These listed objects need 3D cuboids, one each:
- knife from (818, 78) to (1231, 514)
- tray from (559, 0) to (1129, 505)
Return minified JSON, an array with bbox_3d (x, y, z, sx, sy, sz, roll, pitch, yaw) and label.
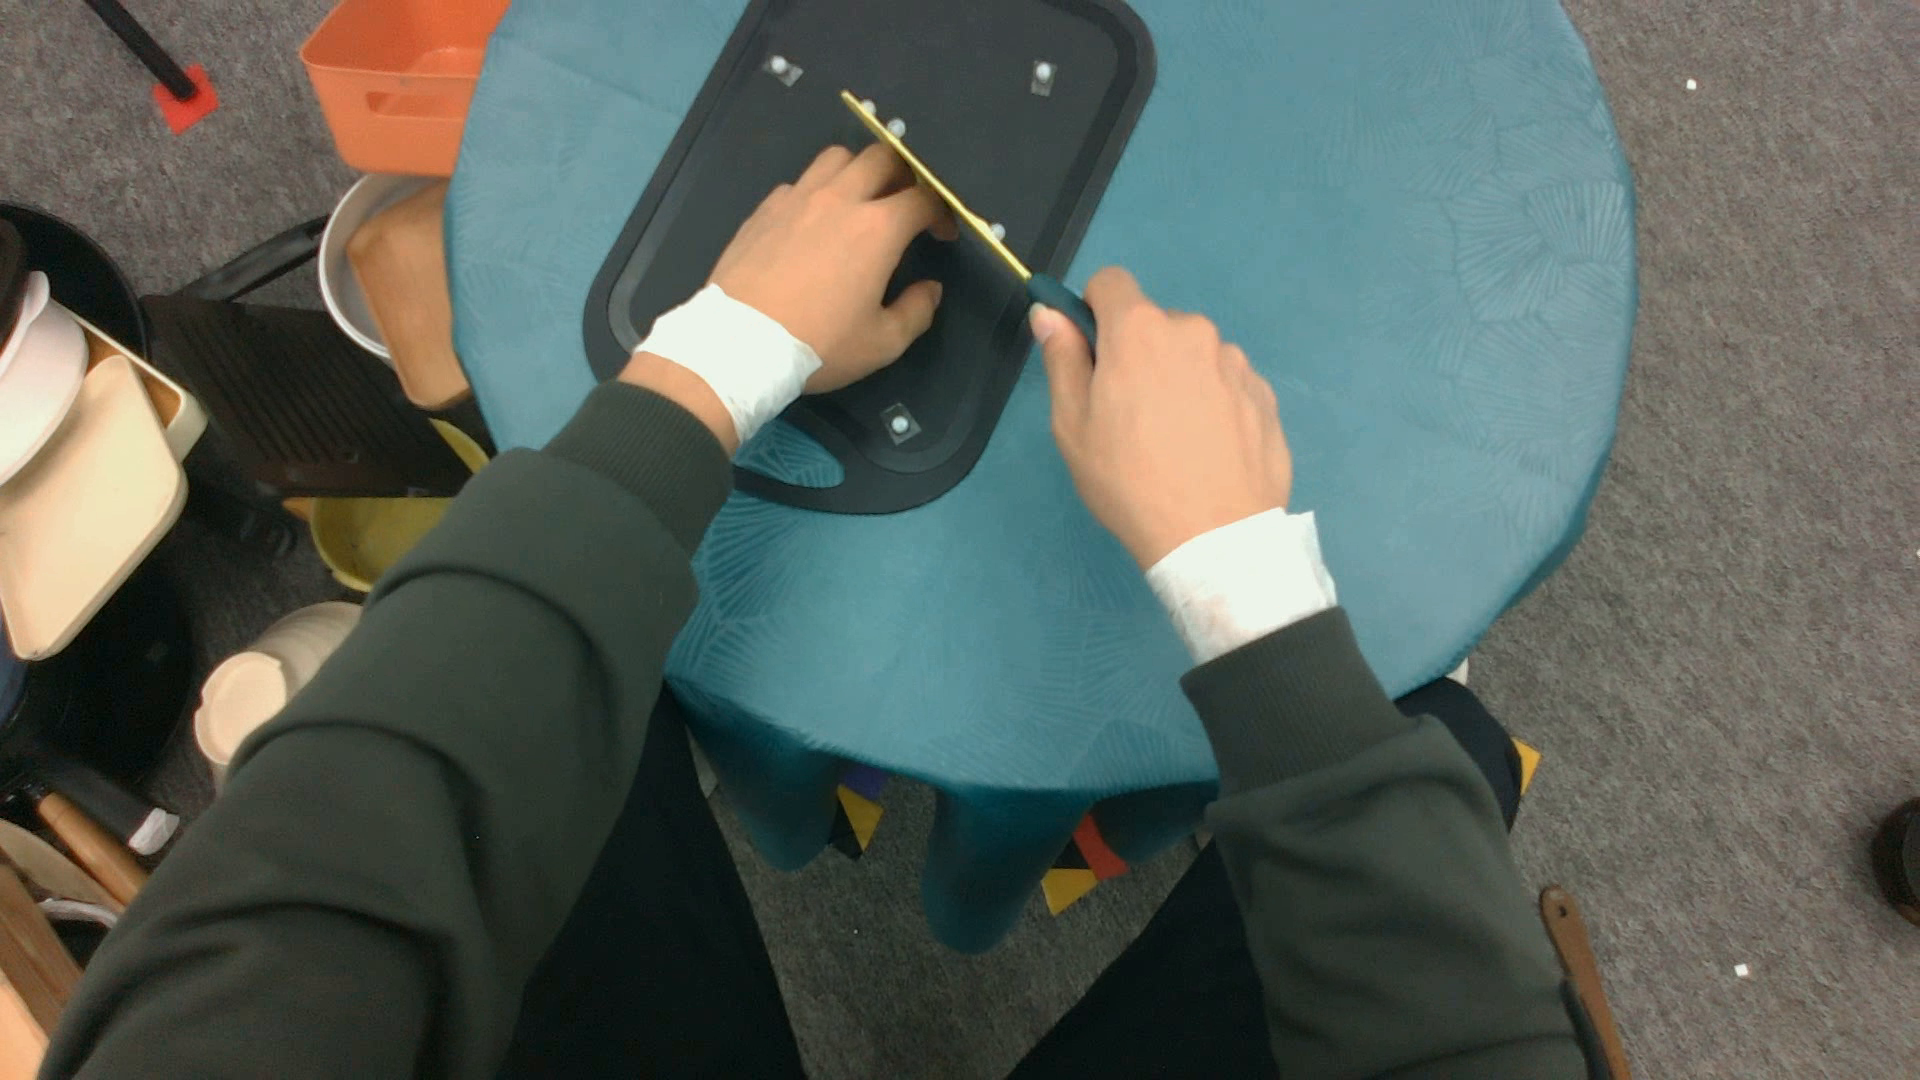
[{"bbox_3d":[0.022,-0.119,0.625,0.027,0.081,0.290,-44,71,11],"label":"knife"},{"bbox_3d":[-0.056,-0.174,0.692,0.211,0.010,0.326,23,75,4],"label":"tray"}]
